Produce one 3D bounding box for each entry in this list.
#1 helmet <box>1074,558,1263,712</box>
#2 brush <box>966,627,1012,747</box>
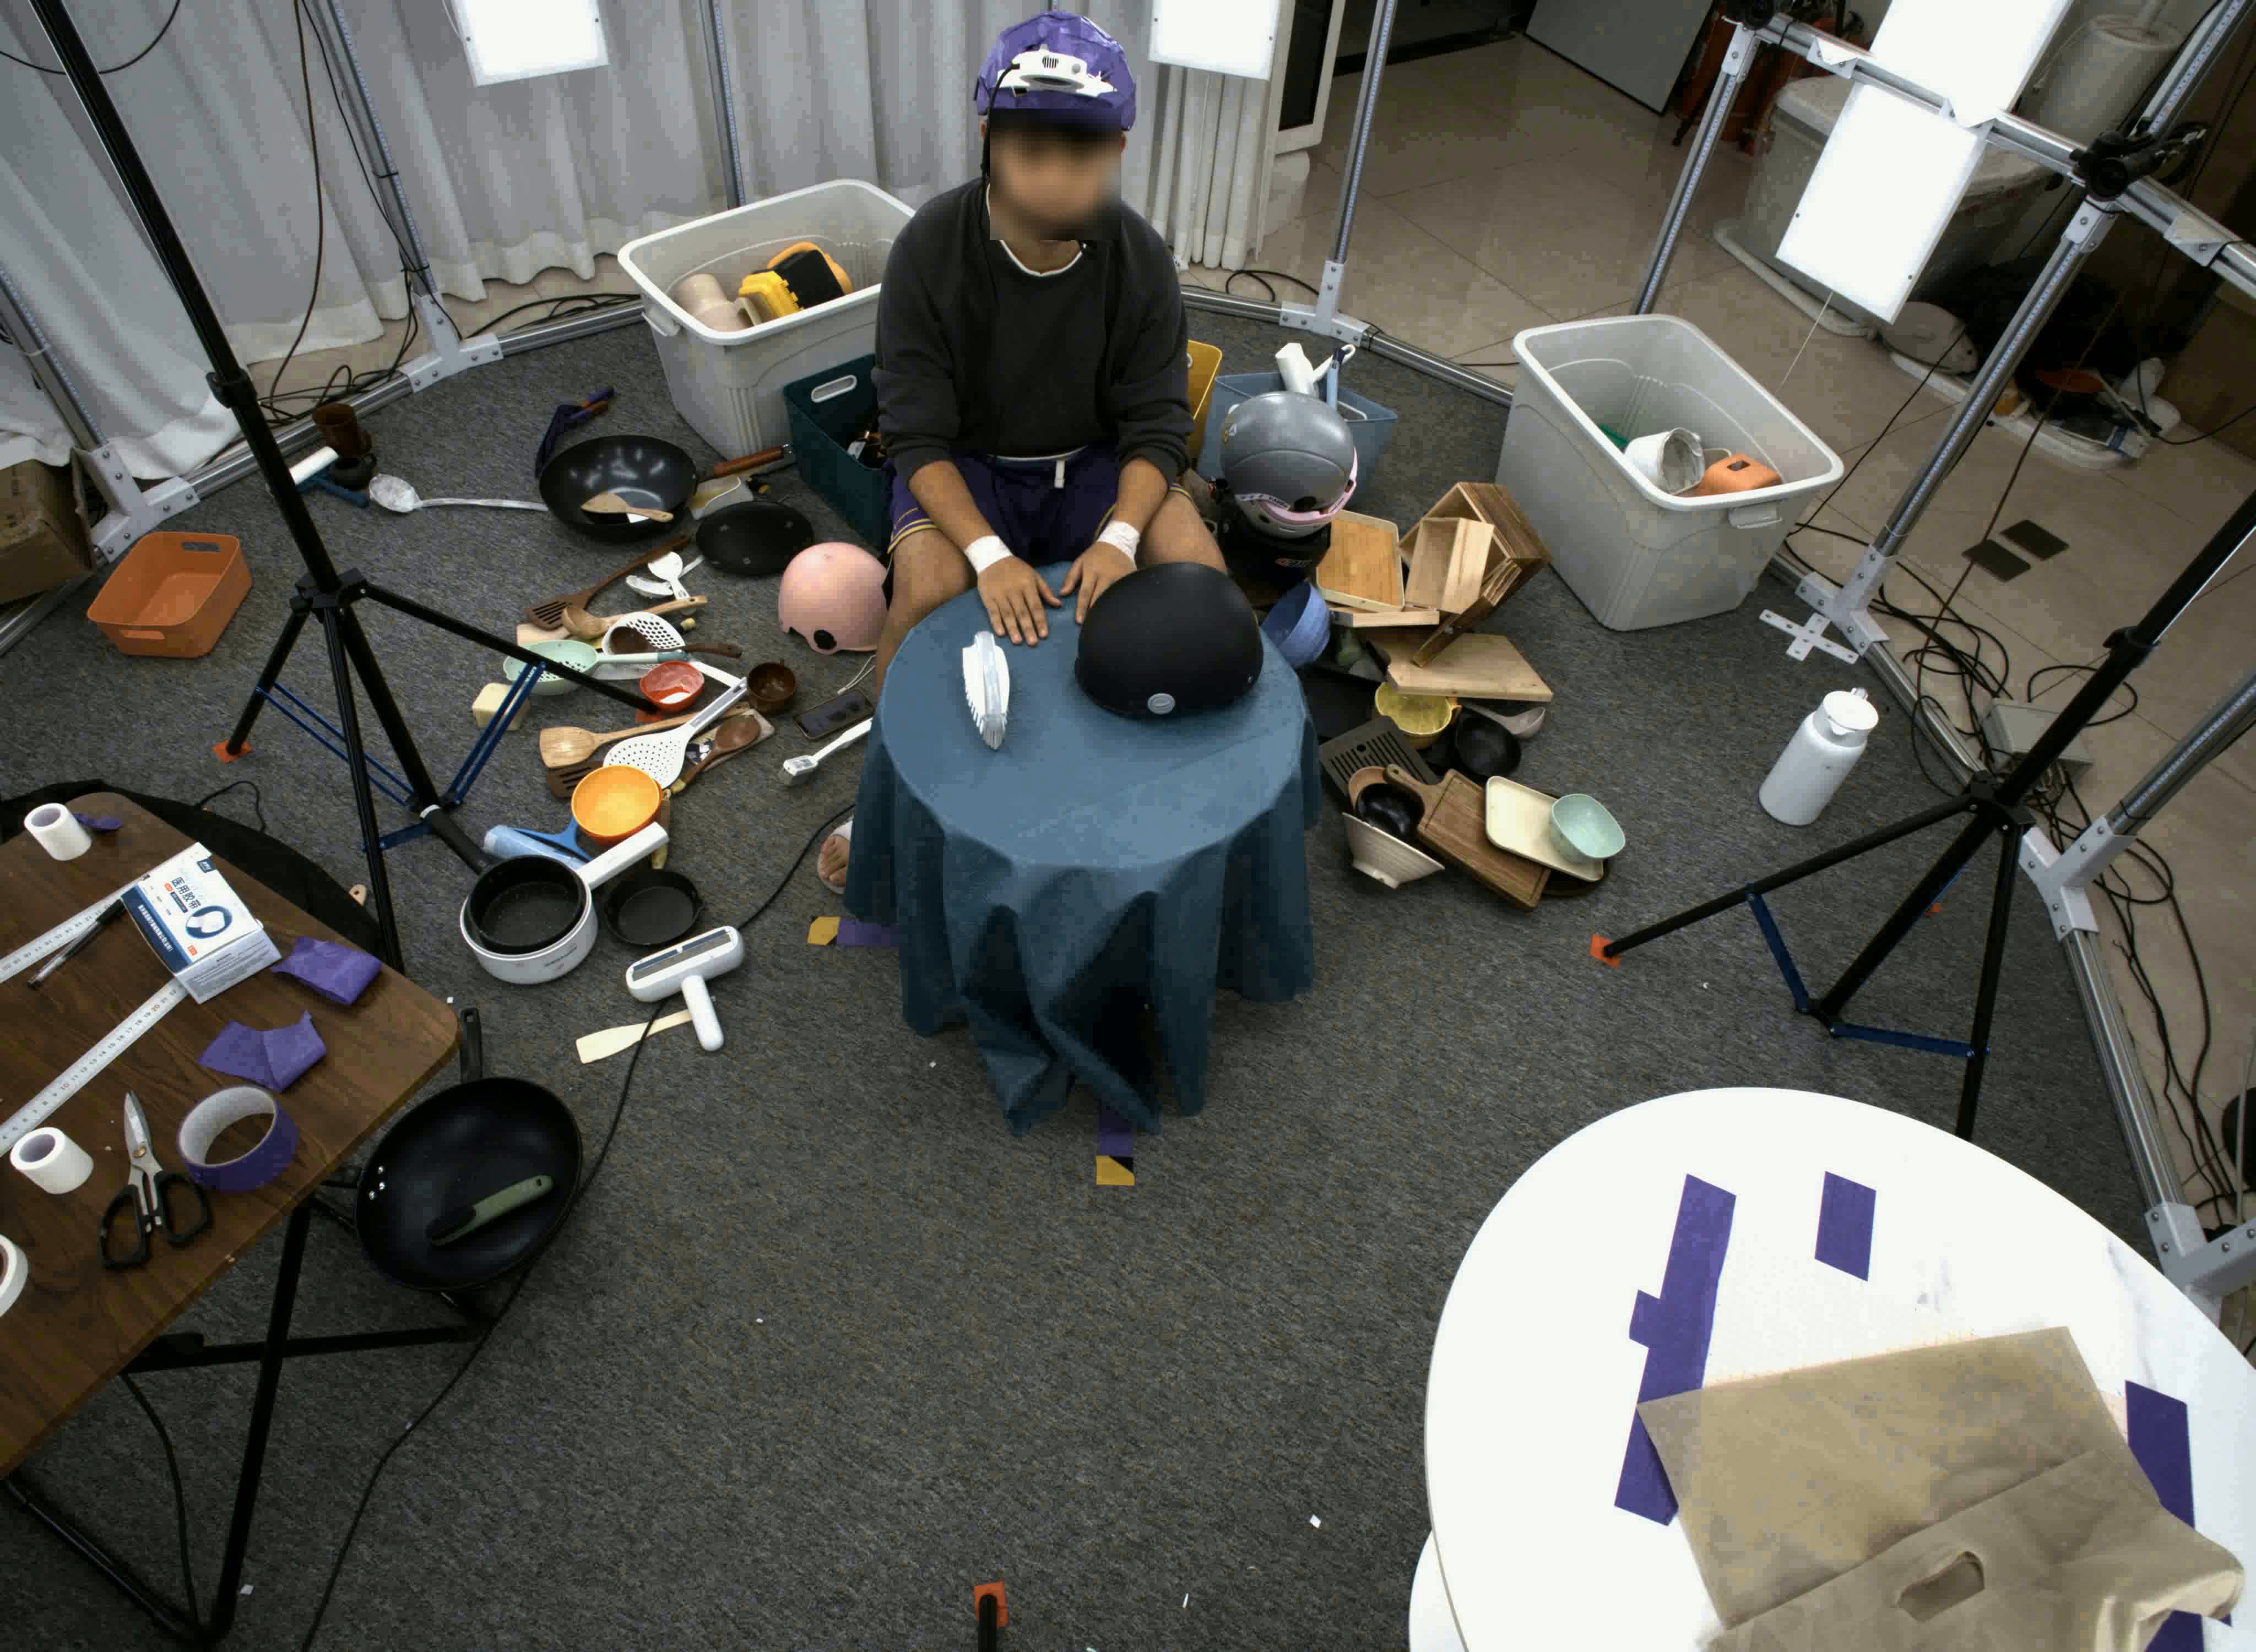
[{"bbox_3d":[0.059,-0.284,1.814,0.273,0.163,0.236,-8,50,-8],"label":"helmet"},{"bbox_3d":[-0.189,-0.200,1.768,0.061,0.092,0.180,-6,51,-7],"label":"brush"}]
